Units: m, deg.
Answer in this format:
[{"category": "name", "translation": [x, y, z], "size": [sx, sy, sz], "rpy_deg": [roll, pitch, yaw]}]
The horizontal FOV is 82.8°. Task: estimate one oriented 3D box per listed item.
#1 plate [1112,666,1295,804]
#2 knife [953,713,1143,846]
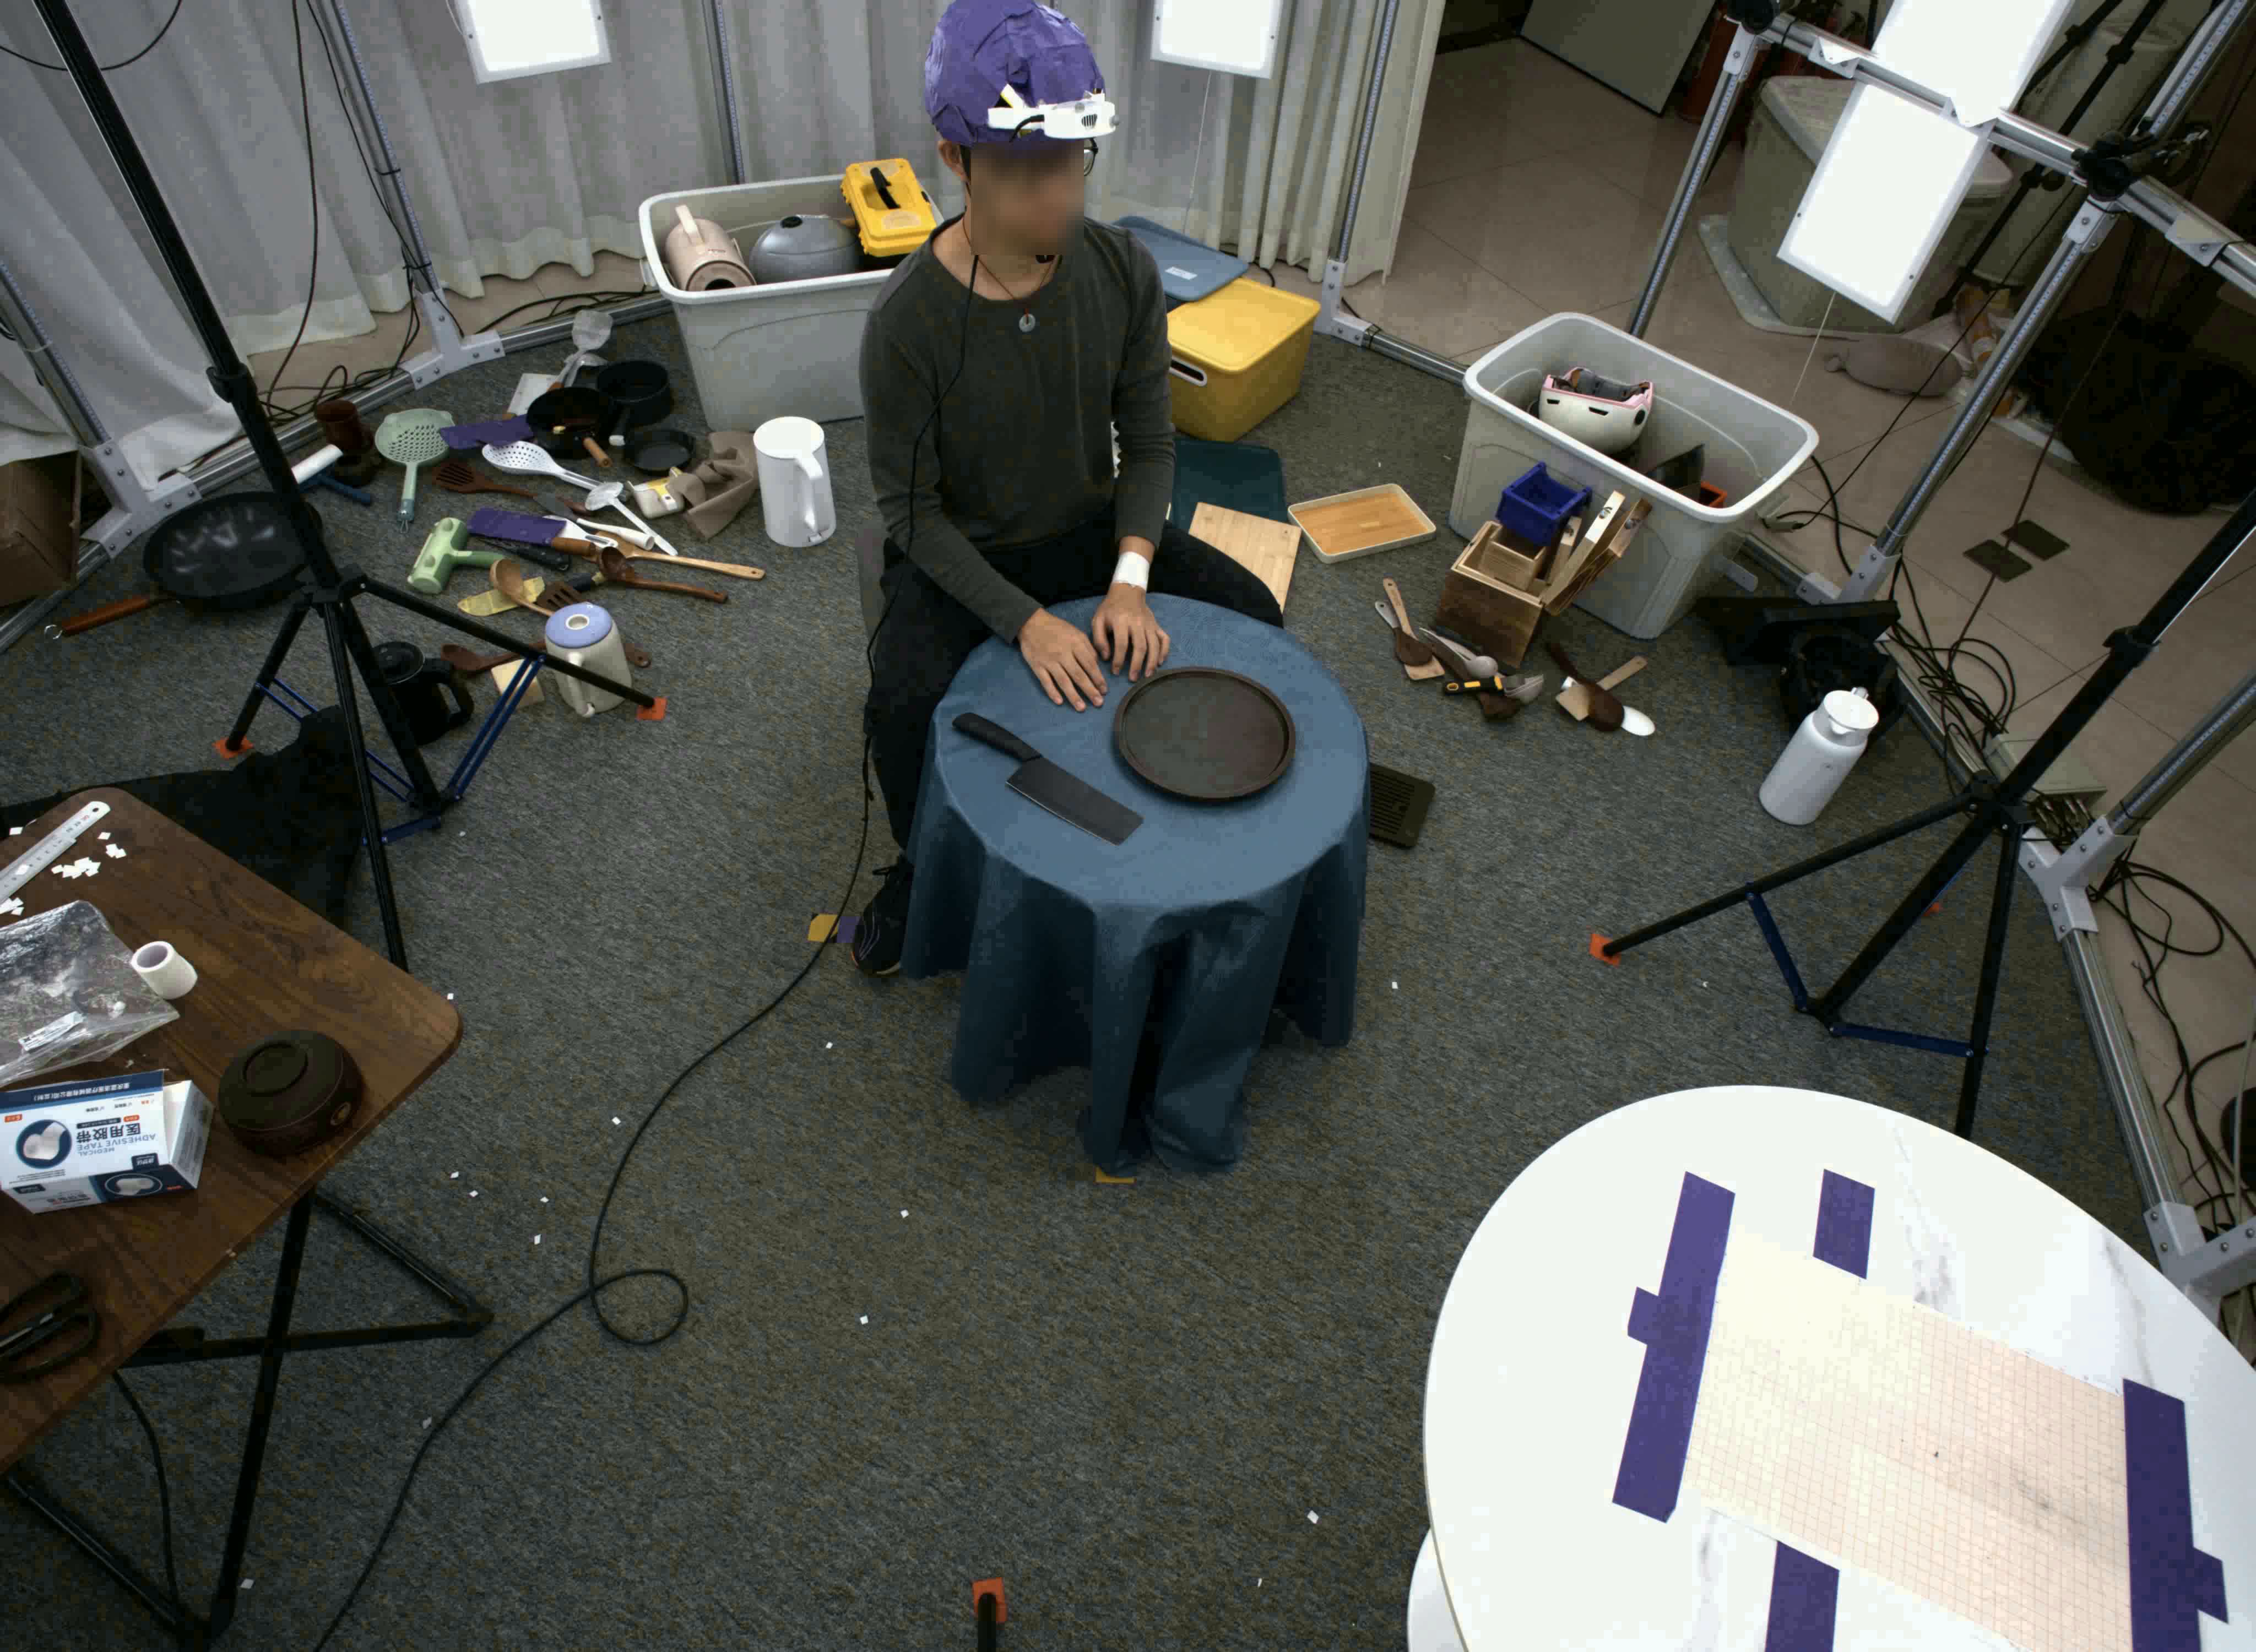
[{"category": "plate", "translation": [0.104, -0.128, 1.770], "size": [0.254, 0.028, 0.261], "rpy_deg": [1, 50, -2]}, {"category": "knife", "translation": [-0.116, -0.066, 1.708], "size": [0.306, 0.020, 0.082], "rpy_deg": [35, 57, 22]}]
